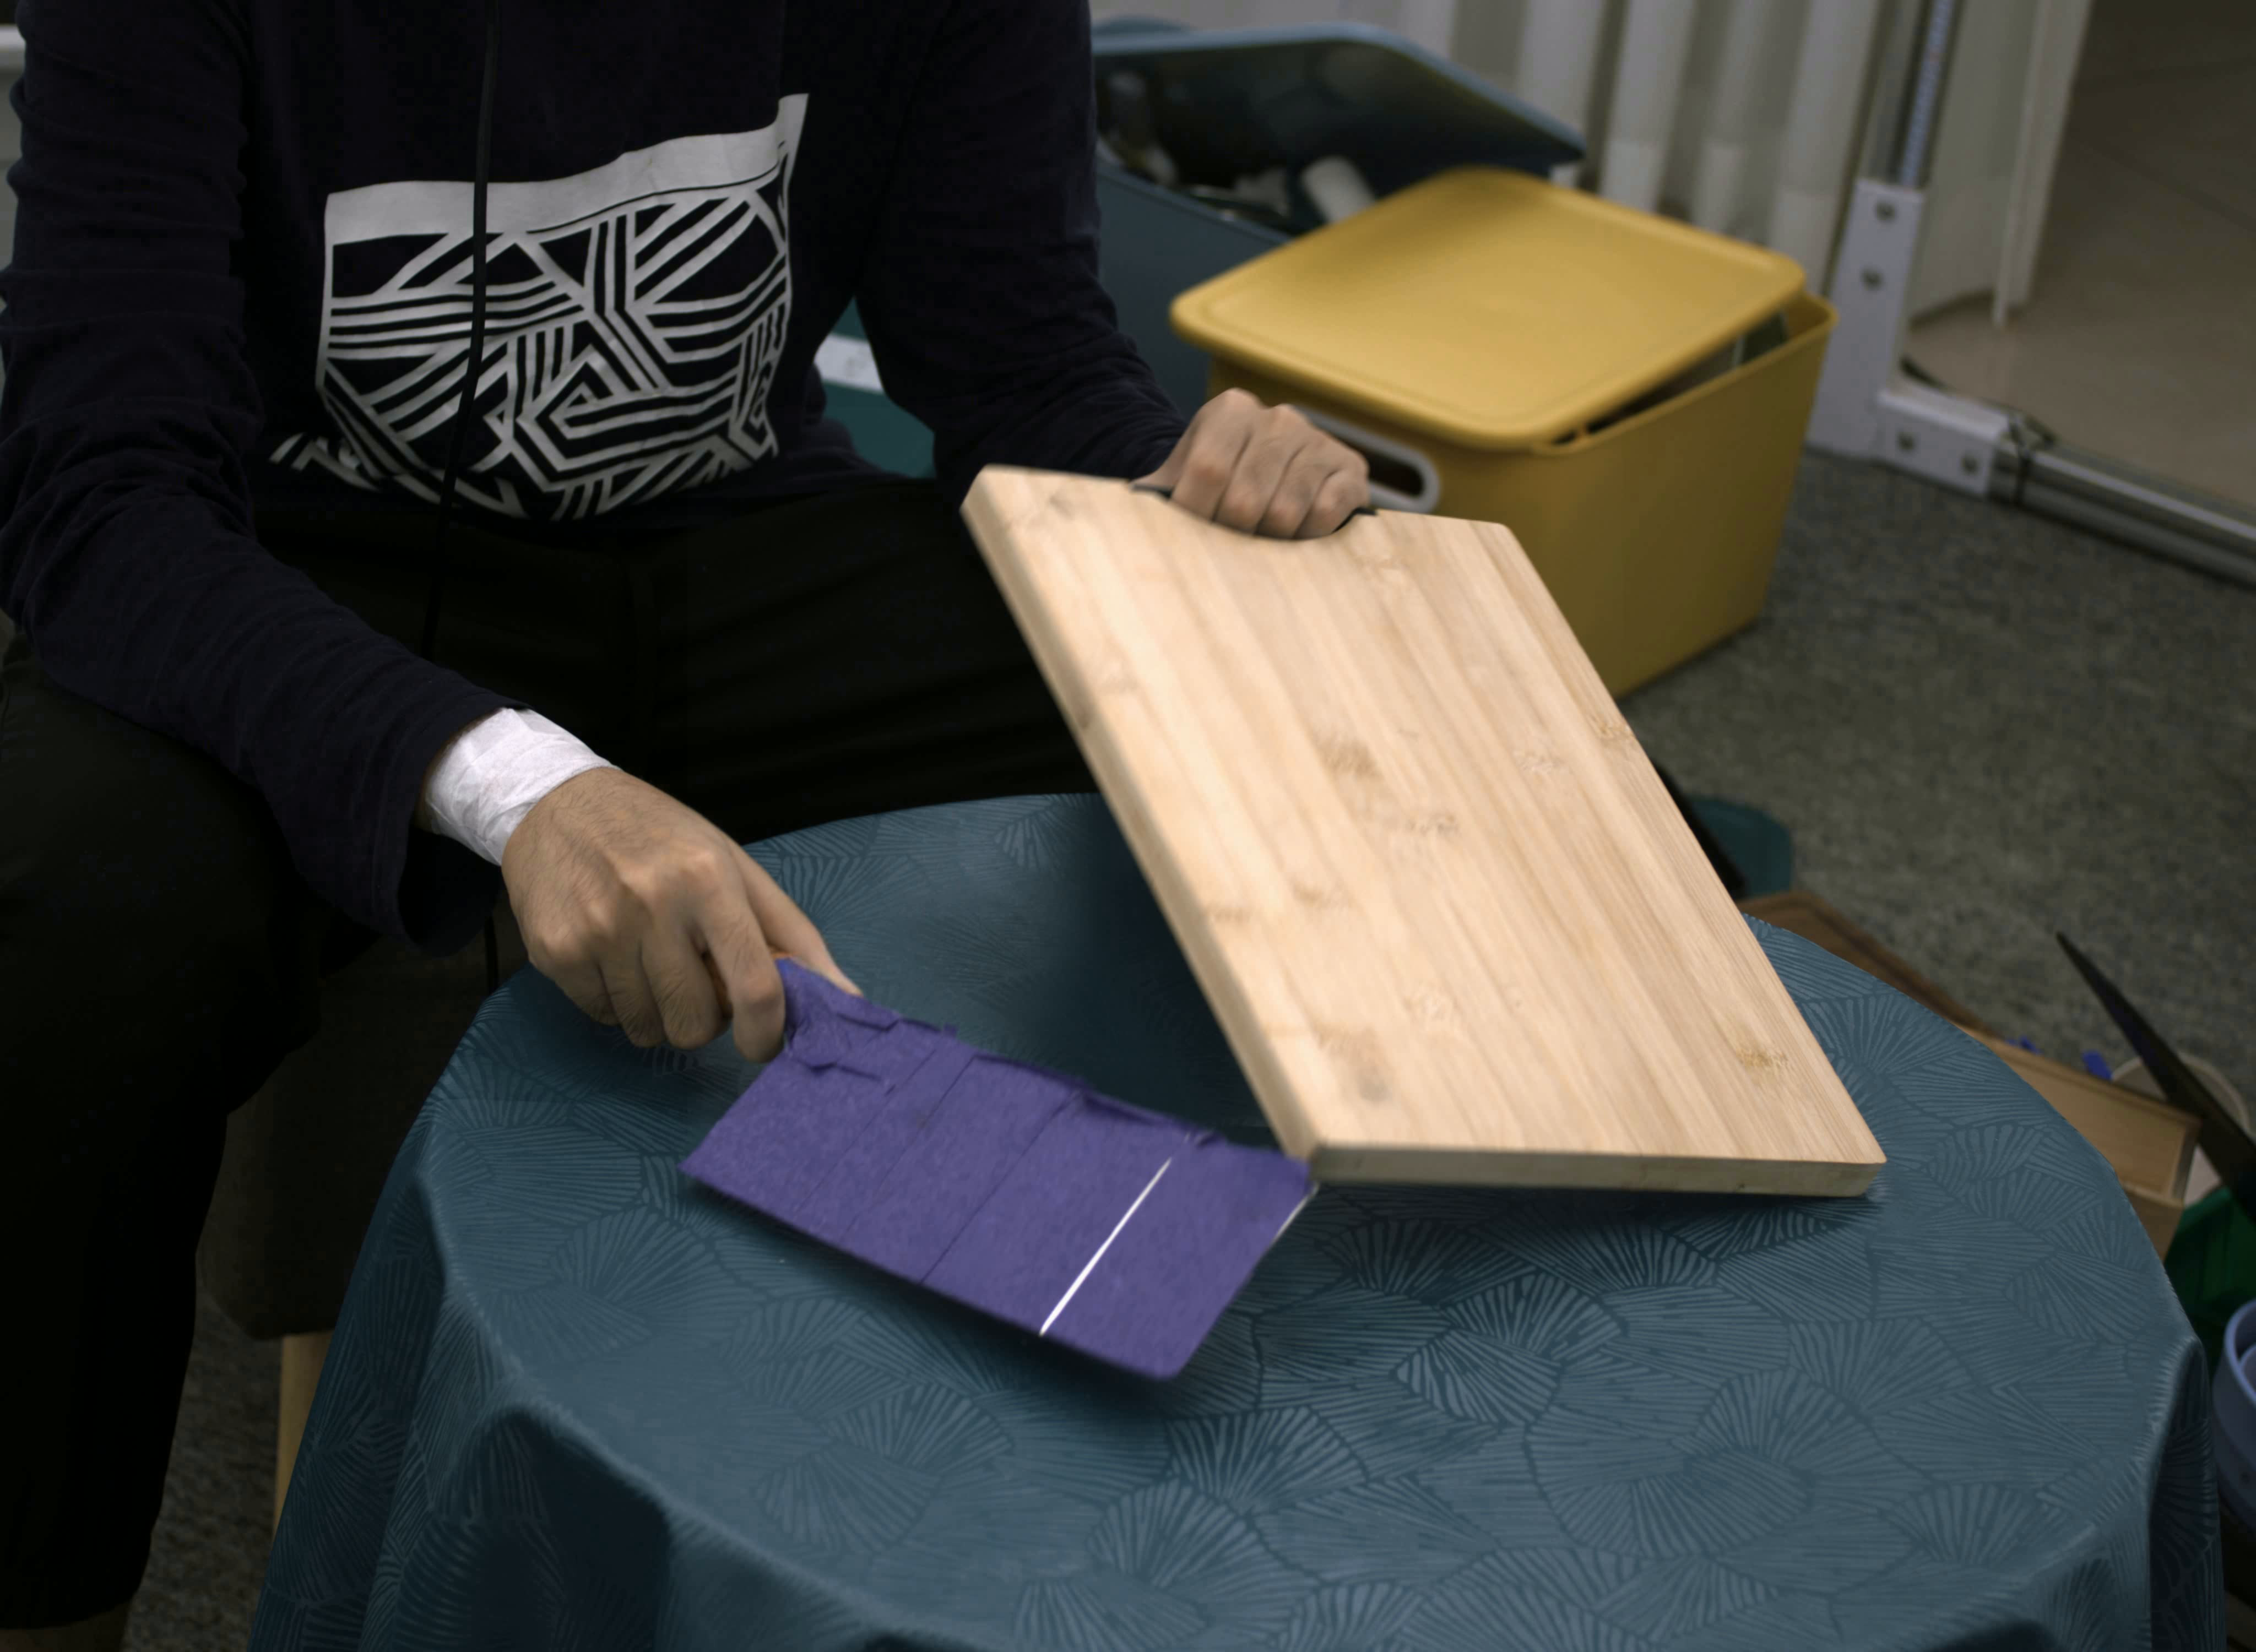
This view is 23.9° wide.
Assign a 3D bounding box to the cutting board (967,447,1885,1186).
[{"bbox_3d":[0.101,-0.006,1.903,0.248,0.023,0.352,5,40,-32],"label":"cutting board"}]

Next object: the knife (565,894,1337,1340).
[{"bbox_3d":[-0.083,0.094,1.760,0.317,0.032,0.104,17,52,35],"label":"knife"}]
